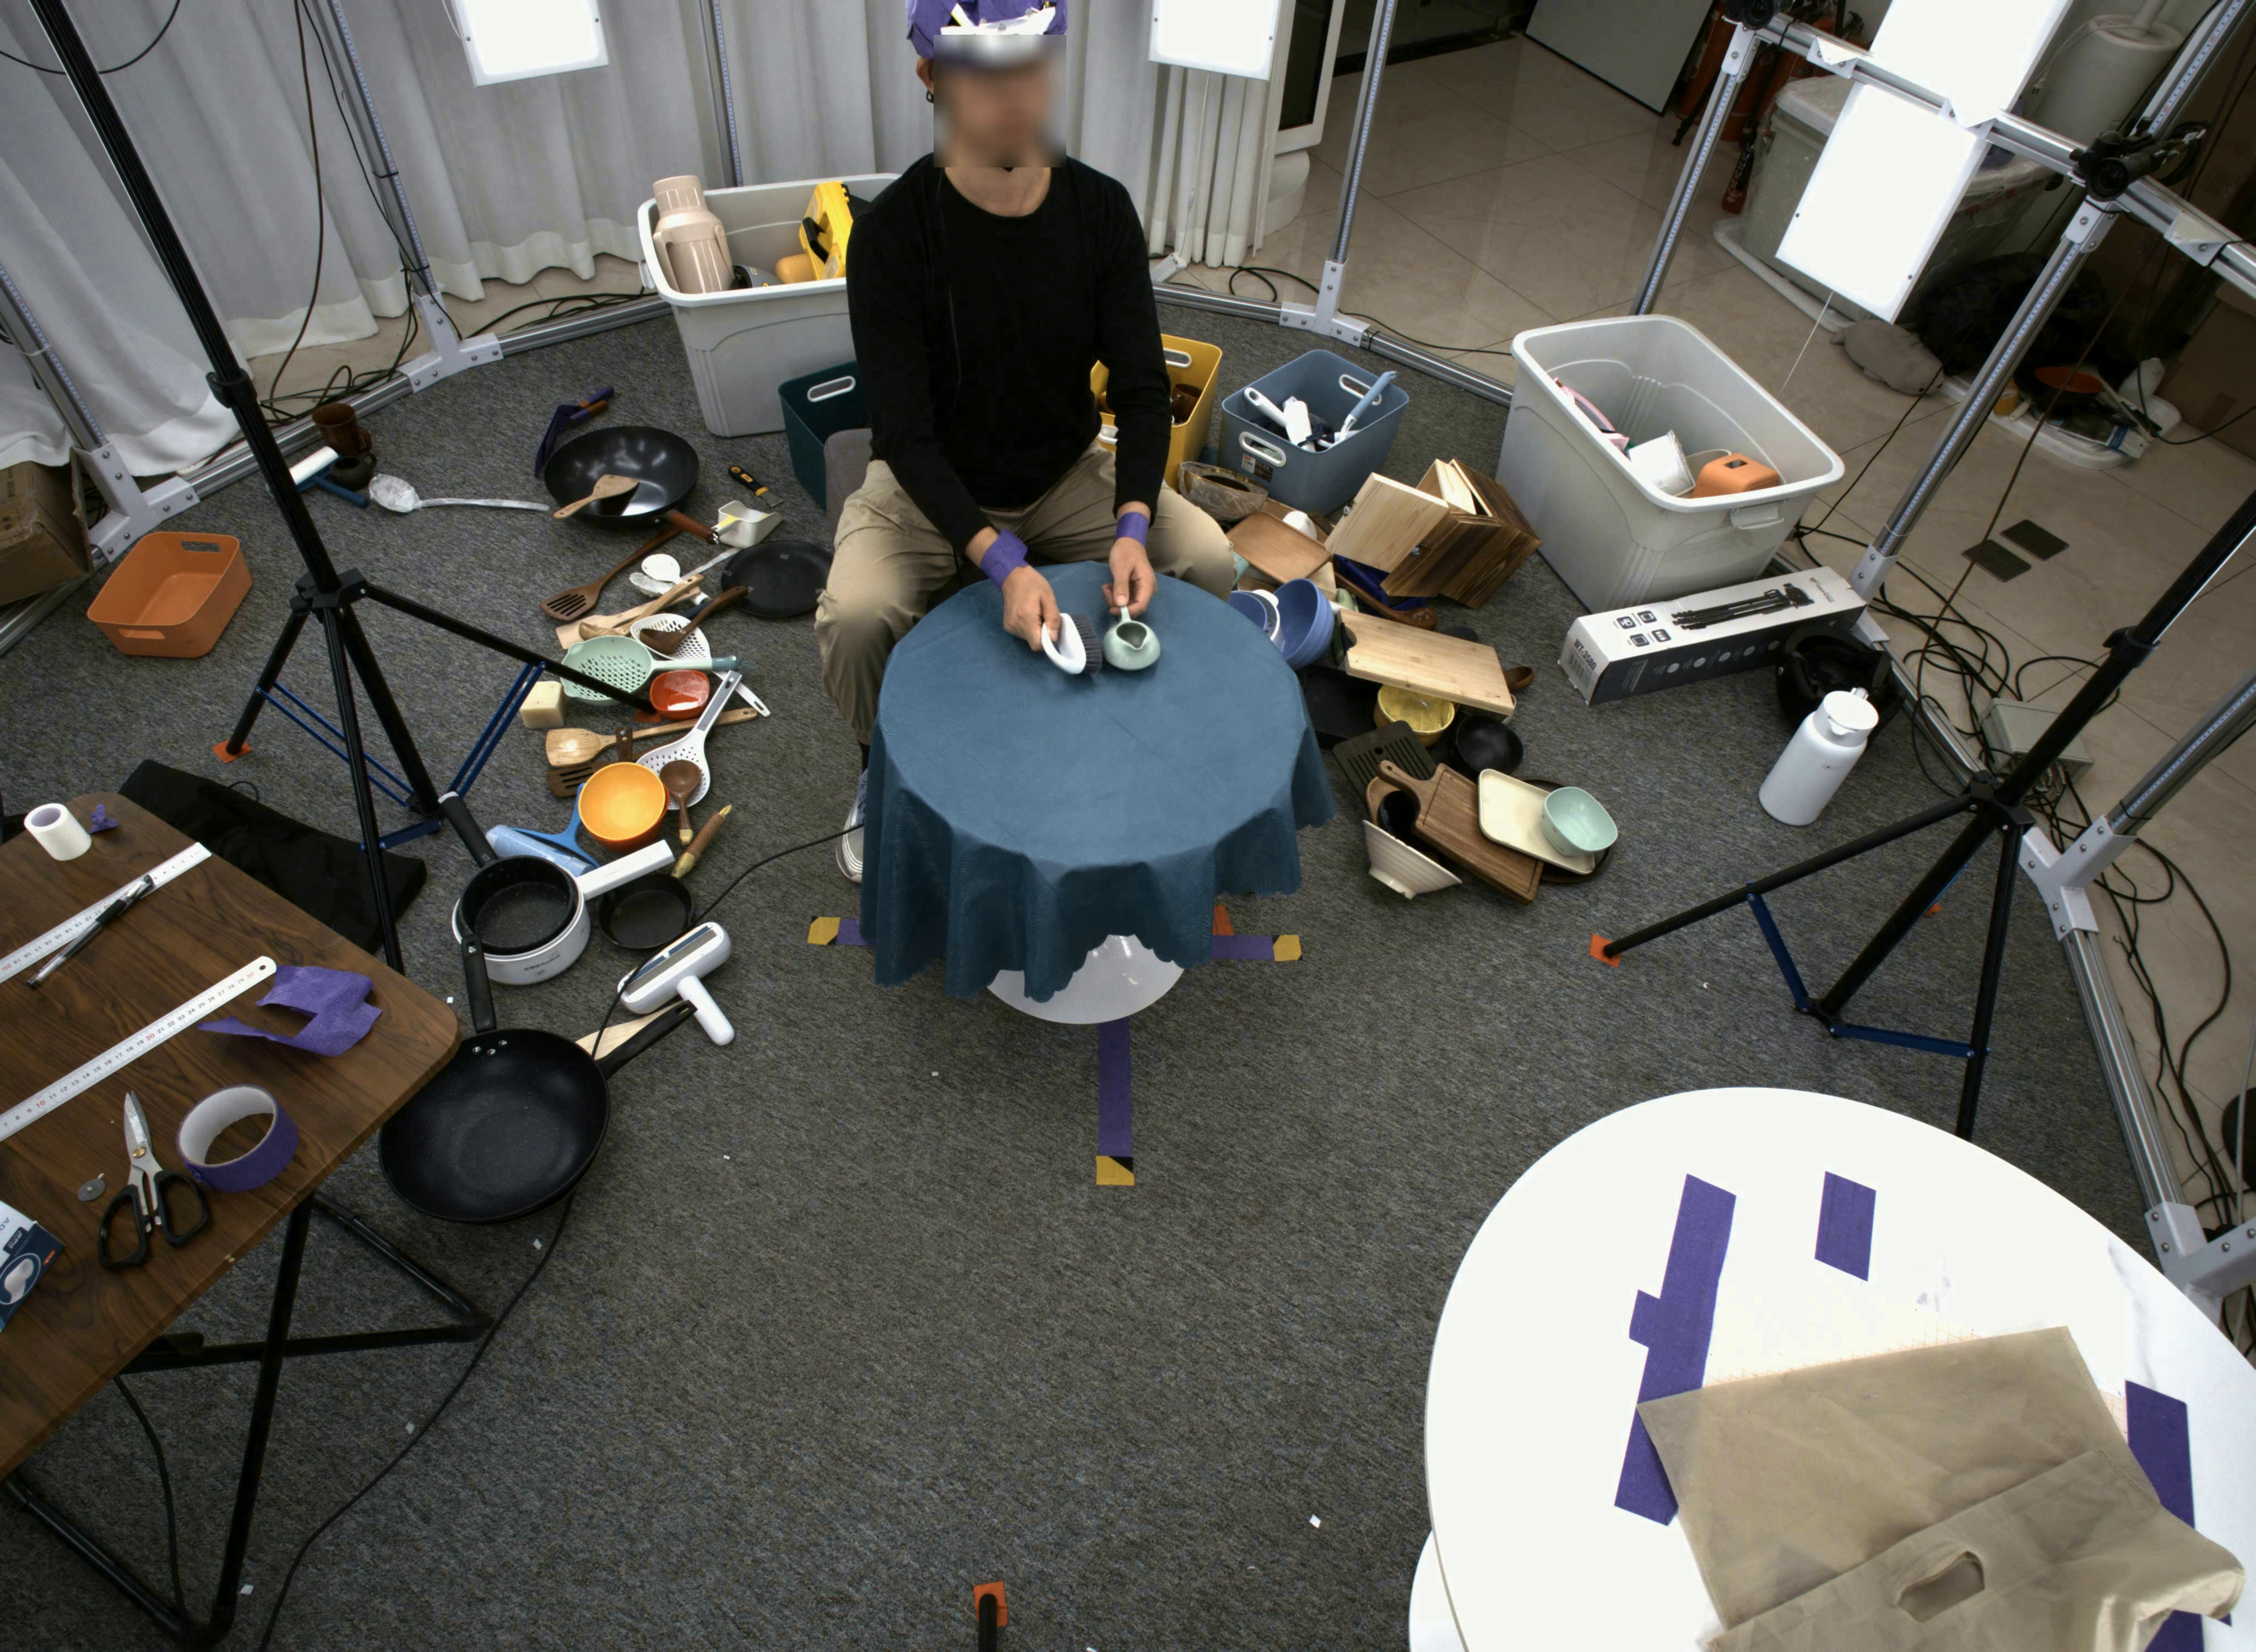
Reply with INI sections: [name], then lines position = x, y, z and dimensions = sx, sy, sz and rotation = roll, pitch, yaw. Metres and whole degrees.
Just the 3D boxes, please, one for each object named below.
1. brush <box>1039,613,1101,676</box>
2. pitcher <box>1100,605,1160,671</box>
[brush]
position = -0.089, -0.261, 1.837
dimensions = 0.072, 0.049, 0.101
rotation = -4, 61, -31
[pitcher]
position = 0.000, -0.272, 1.867
dimensions = 0.086, 0.059, 0.110
rotation = -10, 48, -13
